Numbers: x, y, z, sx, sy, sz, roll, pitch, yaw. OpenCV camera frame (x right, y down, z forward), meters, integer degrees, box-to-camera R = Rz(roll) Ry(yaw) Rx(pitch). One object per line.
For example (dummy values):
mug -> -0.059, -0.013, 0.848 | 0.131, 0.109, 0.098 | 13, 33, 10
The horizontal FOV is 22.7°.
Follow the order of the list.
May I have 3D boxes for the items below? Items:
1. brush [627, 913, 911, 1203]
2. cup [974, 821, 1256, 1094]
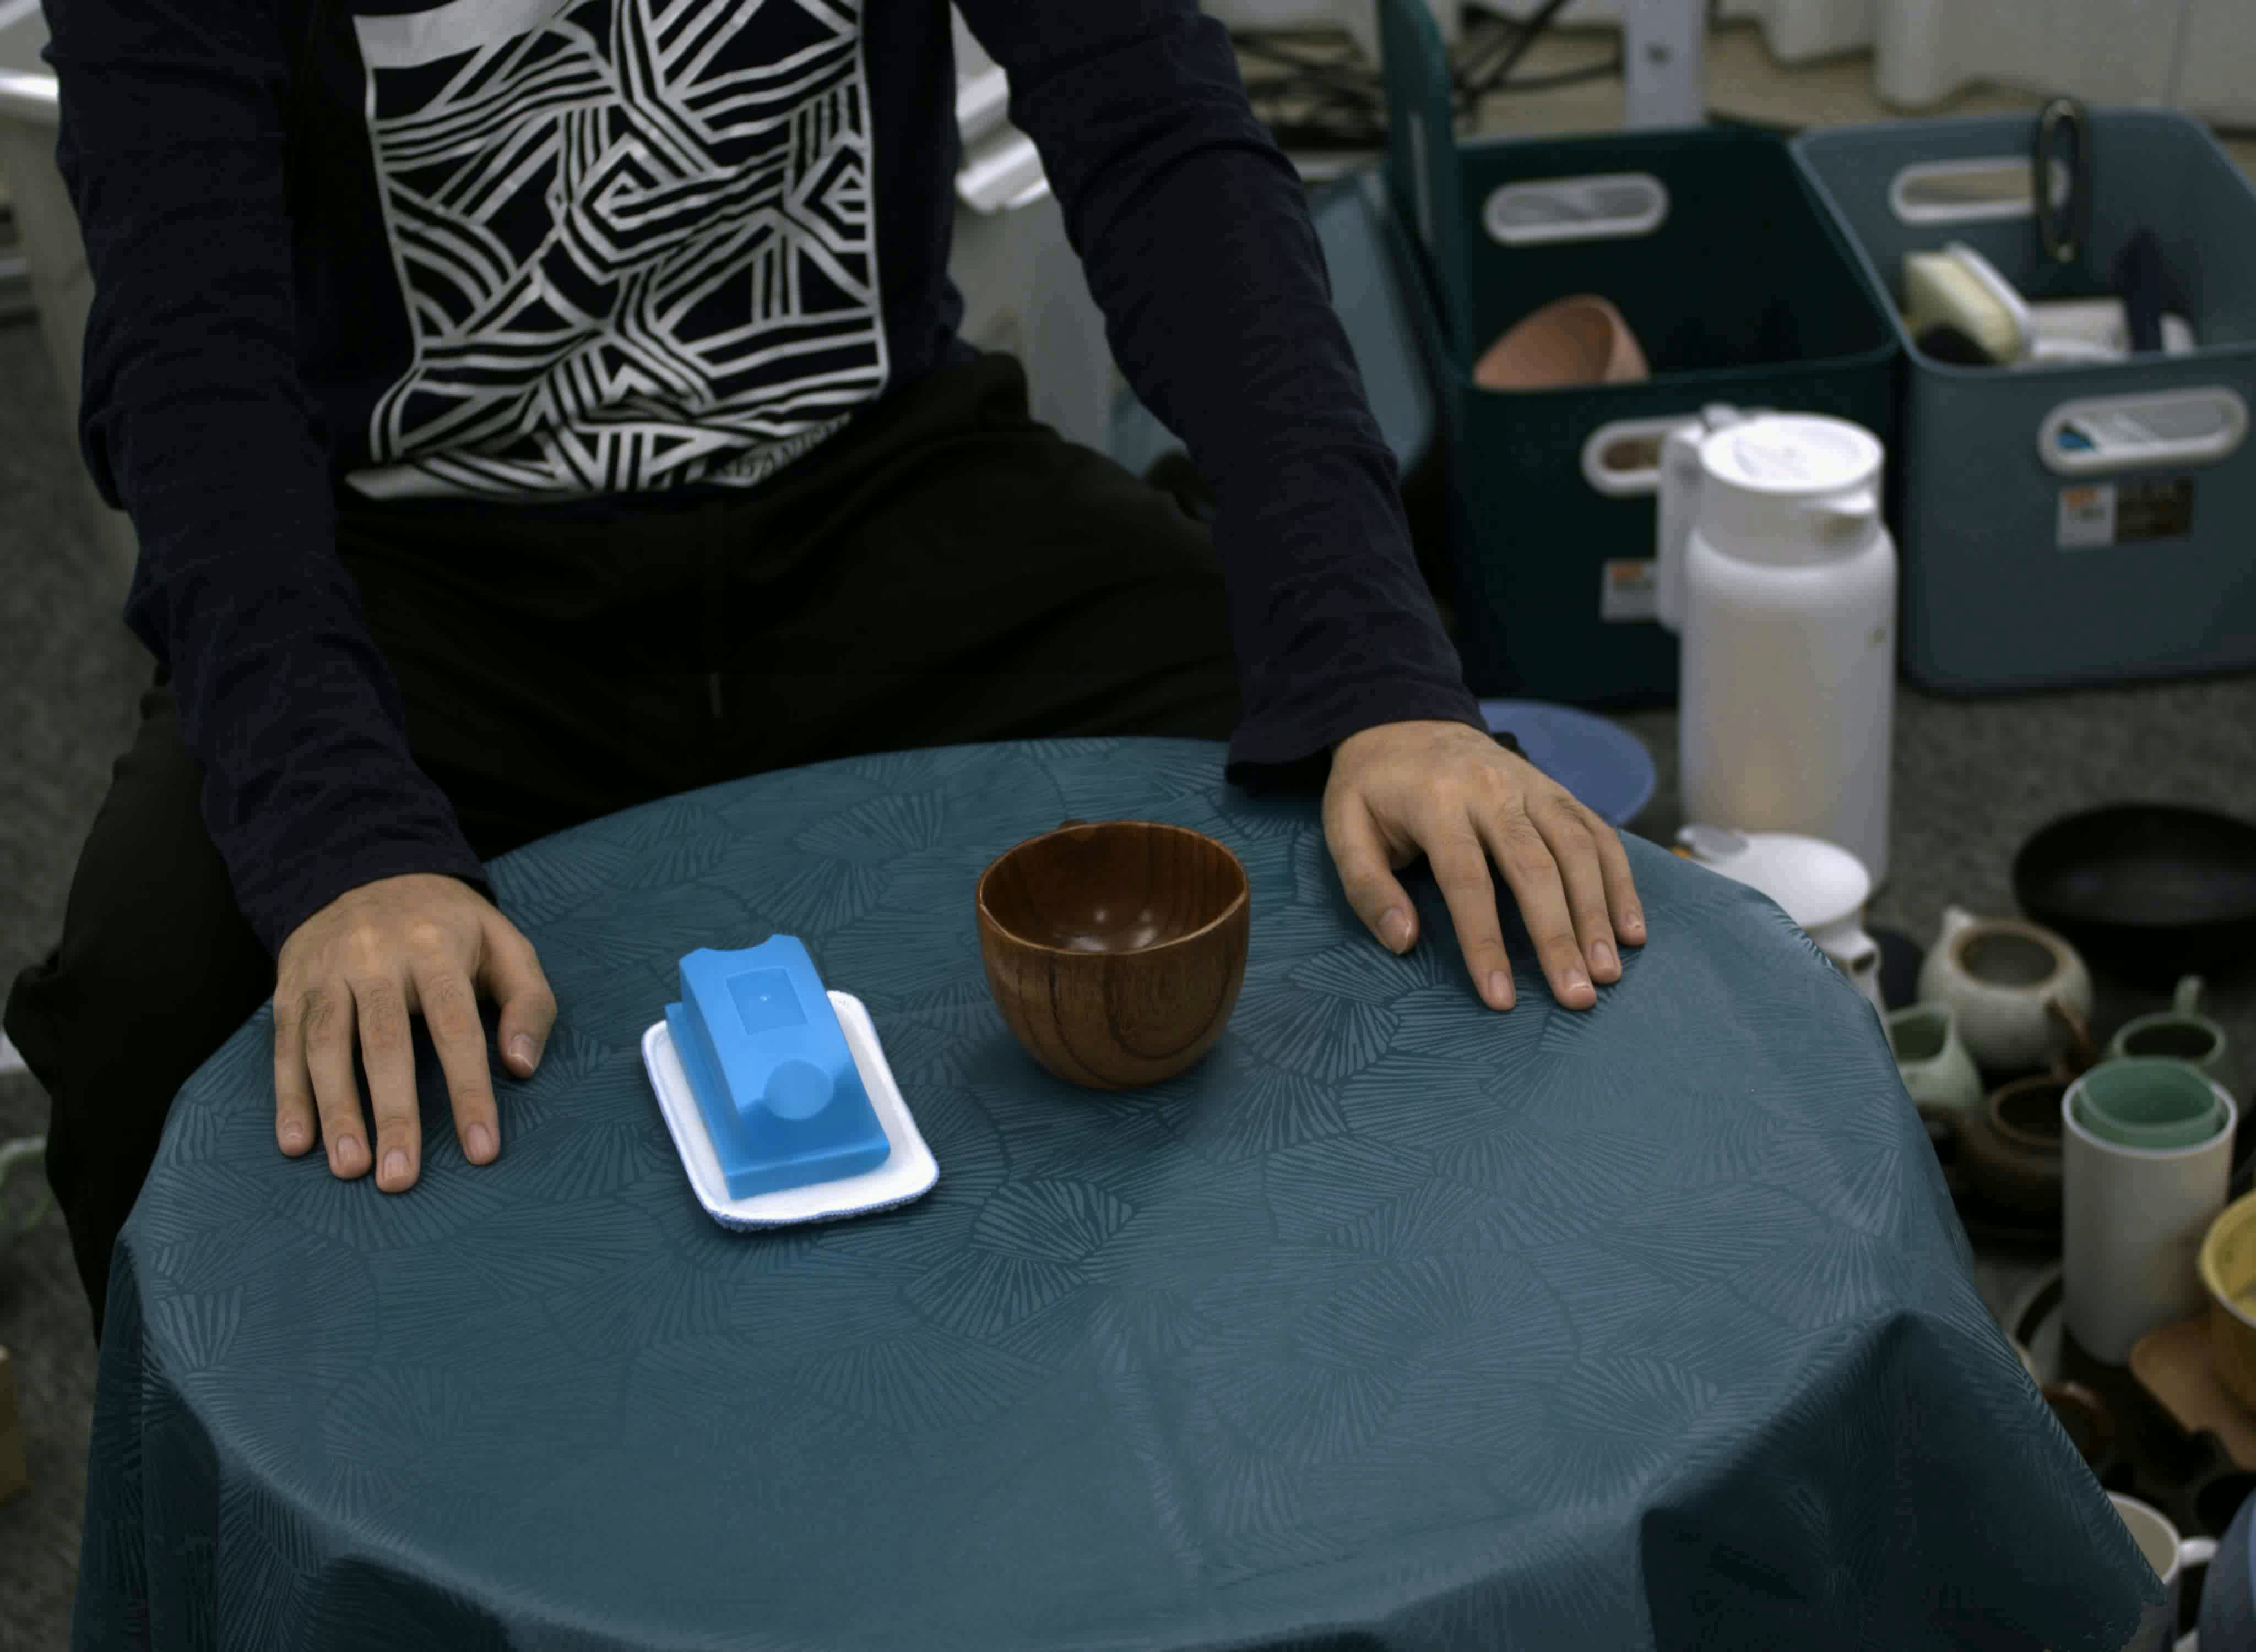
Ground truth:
brush -> -0.121, 0.074, 1.898 | 0.084, 0.055, 0.146 | -5, 30, -12
cup -> -0.004, 0.044, 1.941 | 0.096, 0.067, 0.120 | -13, 26, -11
